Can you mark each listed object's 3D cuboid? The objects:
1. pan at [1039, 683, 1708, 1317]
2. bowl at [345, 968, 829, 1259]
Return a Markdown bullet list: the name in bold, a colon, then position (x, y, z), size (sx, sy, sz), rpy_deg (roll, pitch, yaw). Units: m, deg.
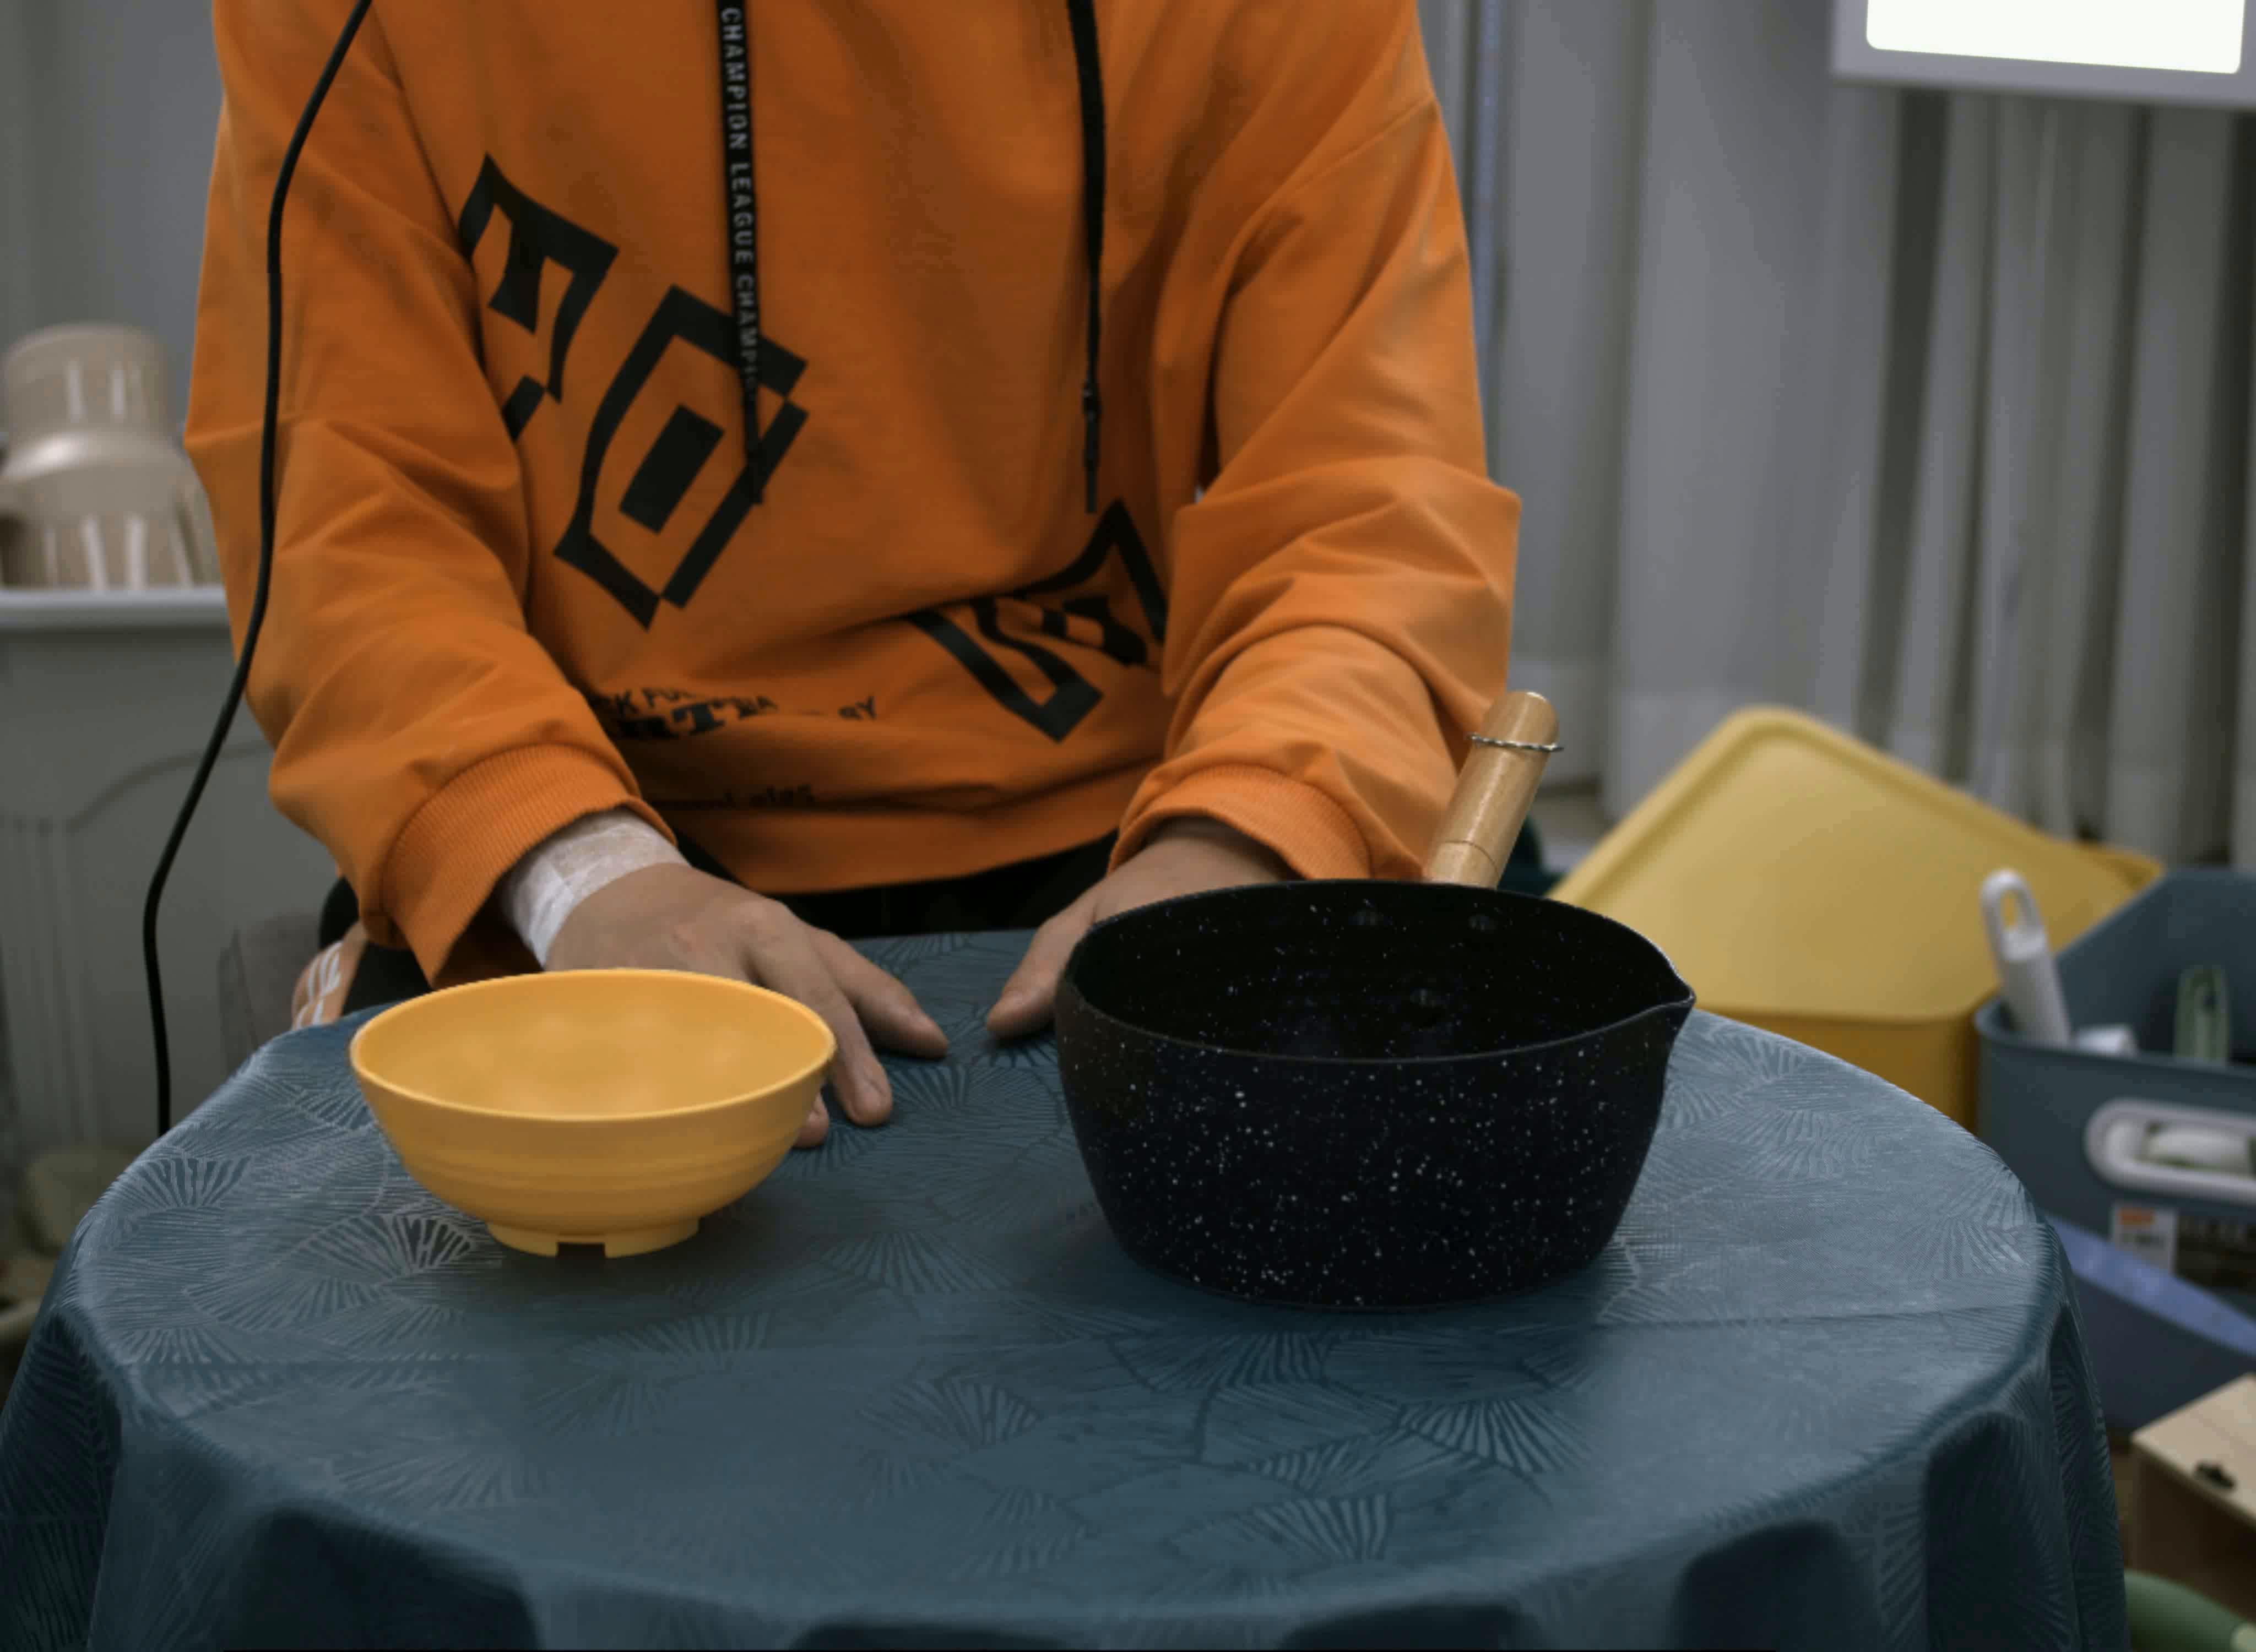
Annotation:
- **pan**: position (0.090, 0.049, 1.650), size (0.206, 0.109, 0.342), rpy_deg (3, 17, 14)
- **bowl**: position (-0.162, 0.092, 1.584), size (0.145, 0.060, 0.144), rpy_deg (2, 15, 0)
